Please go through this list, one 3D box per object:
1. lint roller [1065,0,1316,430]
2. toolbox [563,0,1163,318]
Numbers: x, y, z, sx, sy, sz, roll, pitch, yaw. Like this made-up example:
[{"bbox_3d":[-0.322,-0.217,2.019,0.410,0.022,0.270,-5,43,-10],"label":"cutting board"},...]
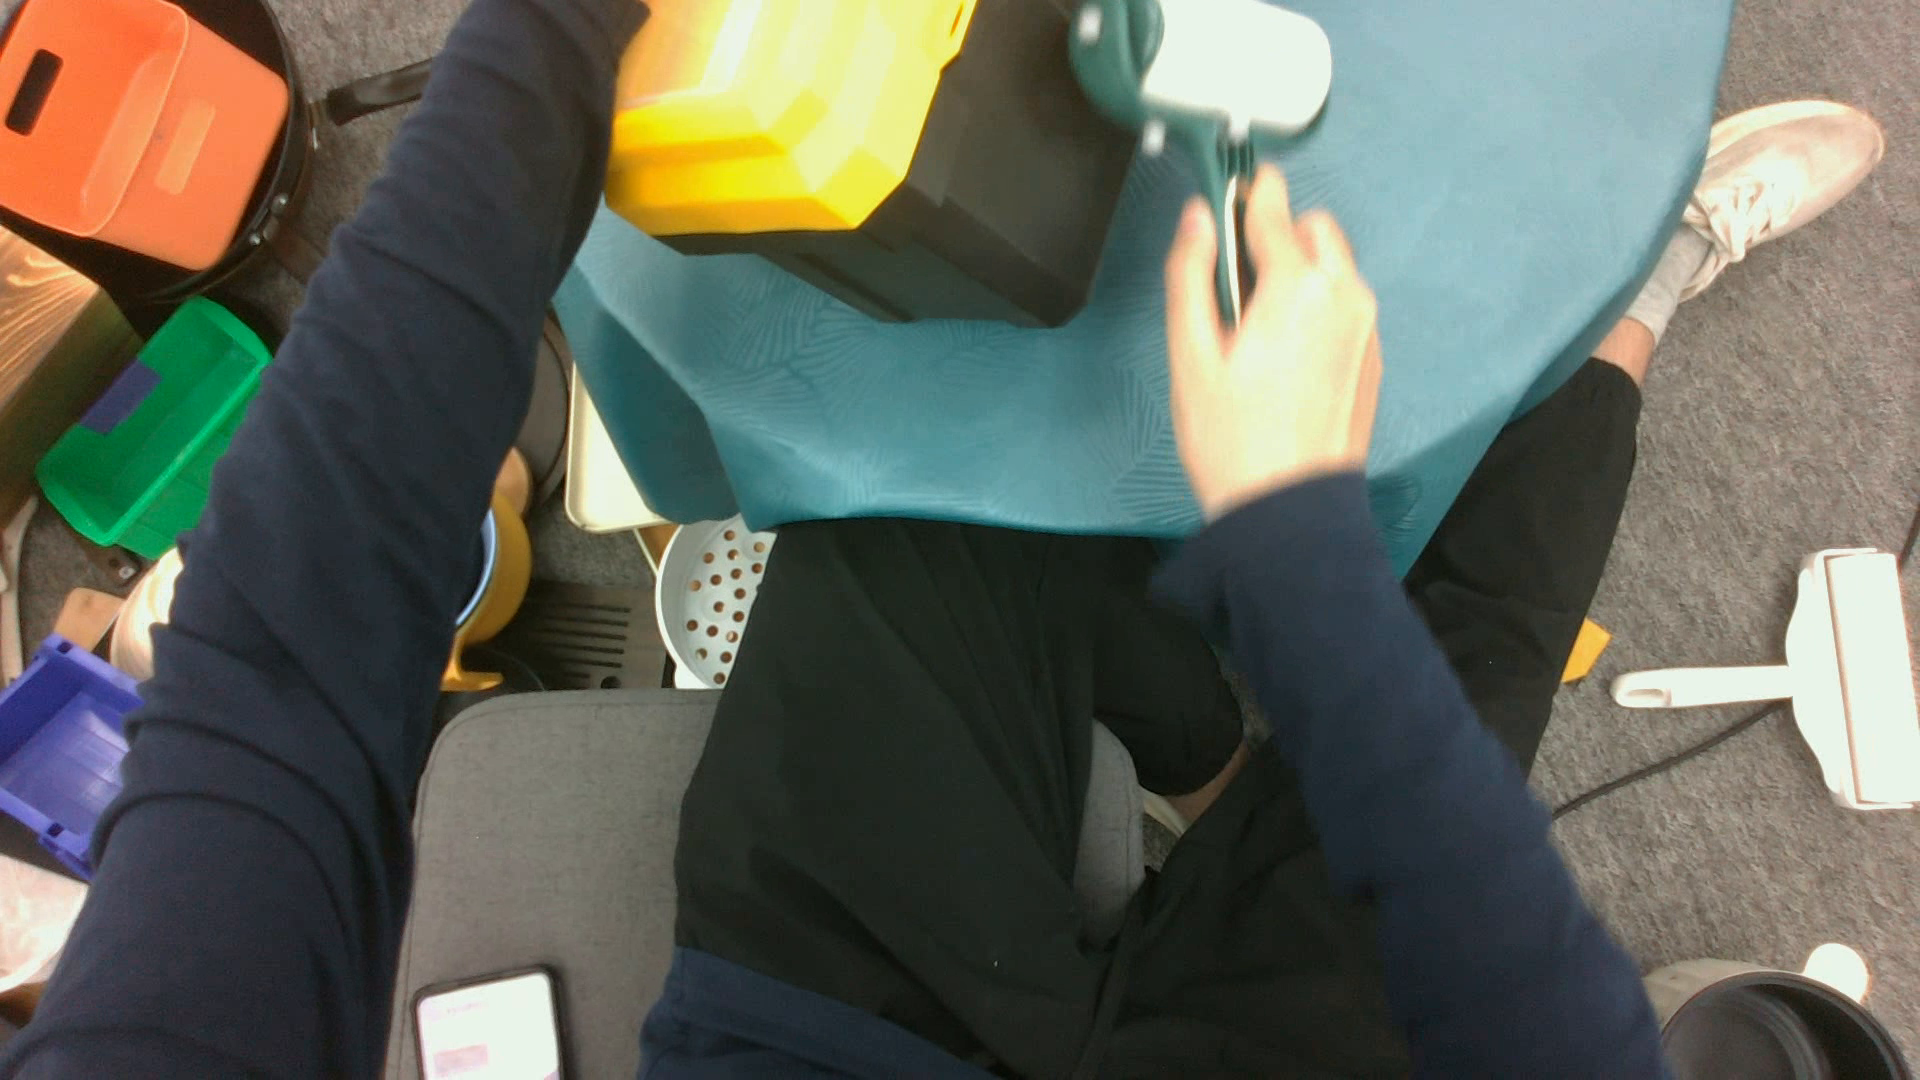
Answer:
[{"bbox_3d":[0.105,-0.135,0.533,0.135,0.048,0.180,-5,80,-44],"label":"lint roller"},{"bbox_3d":[-0.004,-0.269,0.558,0.181,0.173,0.352,11,79,44],"label":"toolbox"}]
